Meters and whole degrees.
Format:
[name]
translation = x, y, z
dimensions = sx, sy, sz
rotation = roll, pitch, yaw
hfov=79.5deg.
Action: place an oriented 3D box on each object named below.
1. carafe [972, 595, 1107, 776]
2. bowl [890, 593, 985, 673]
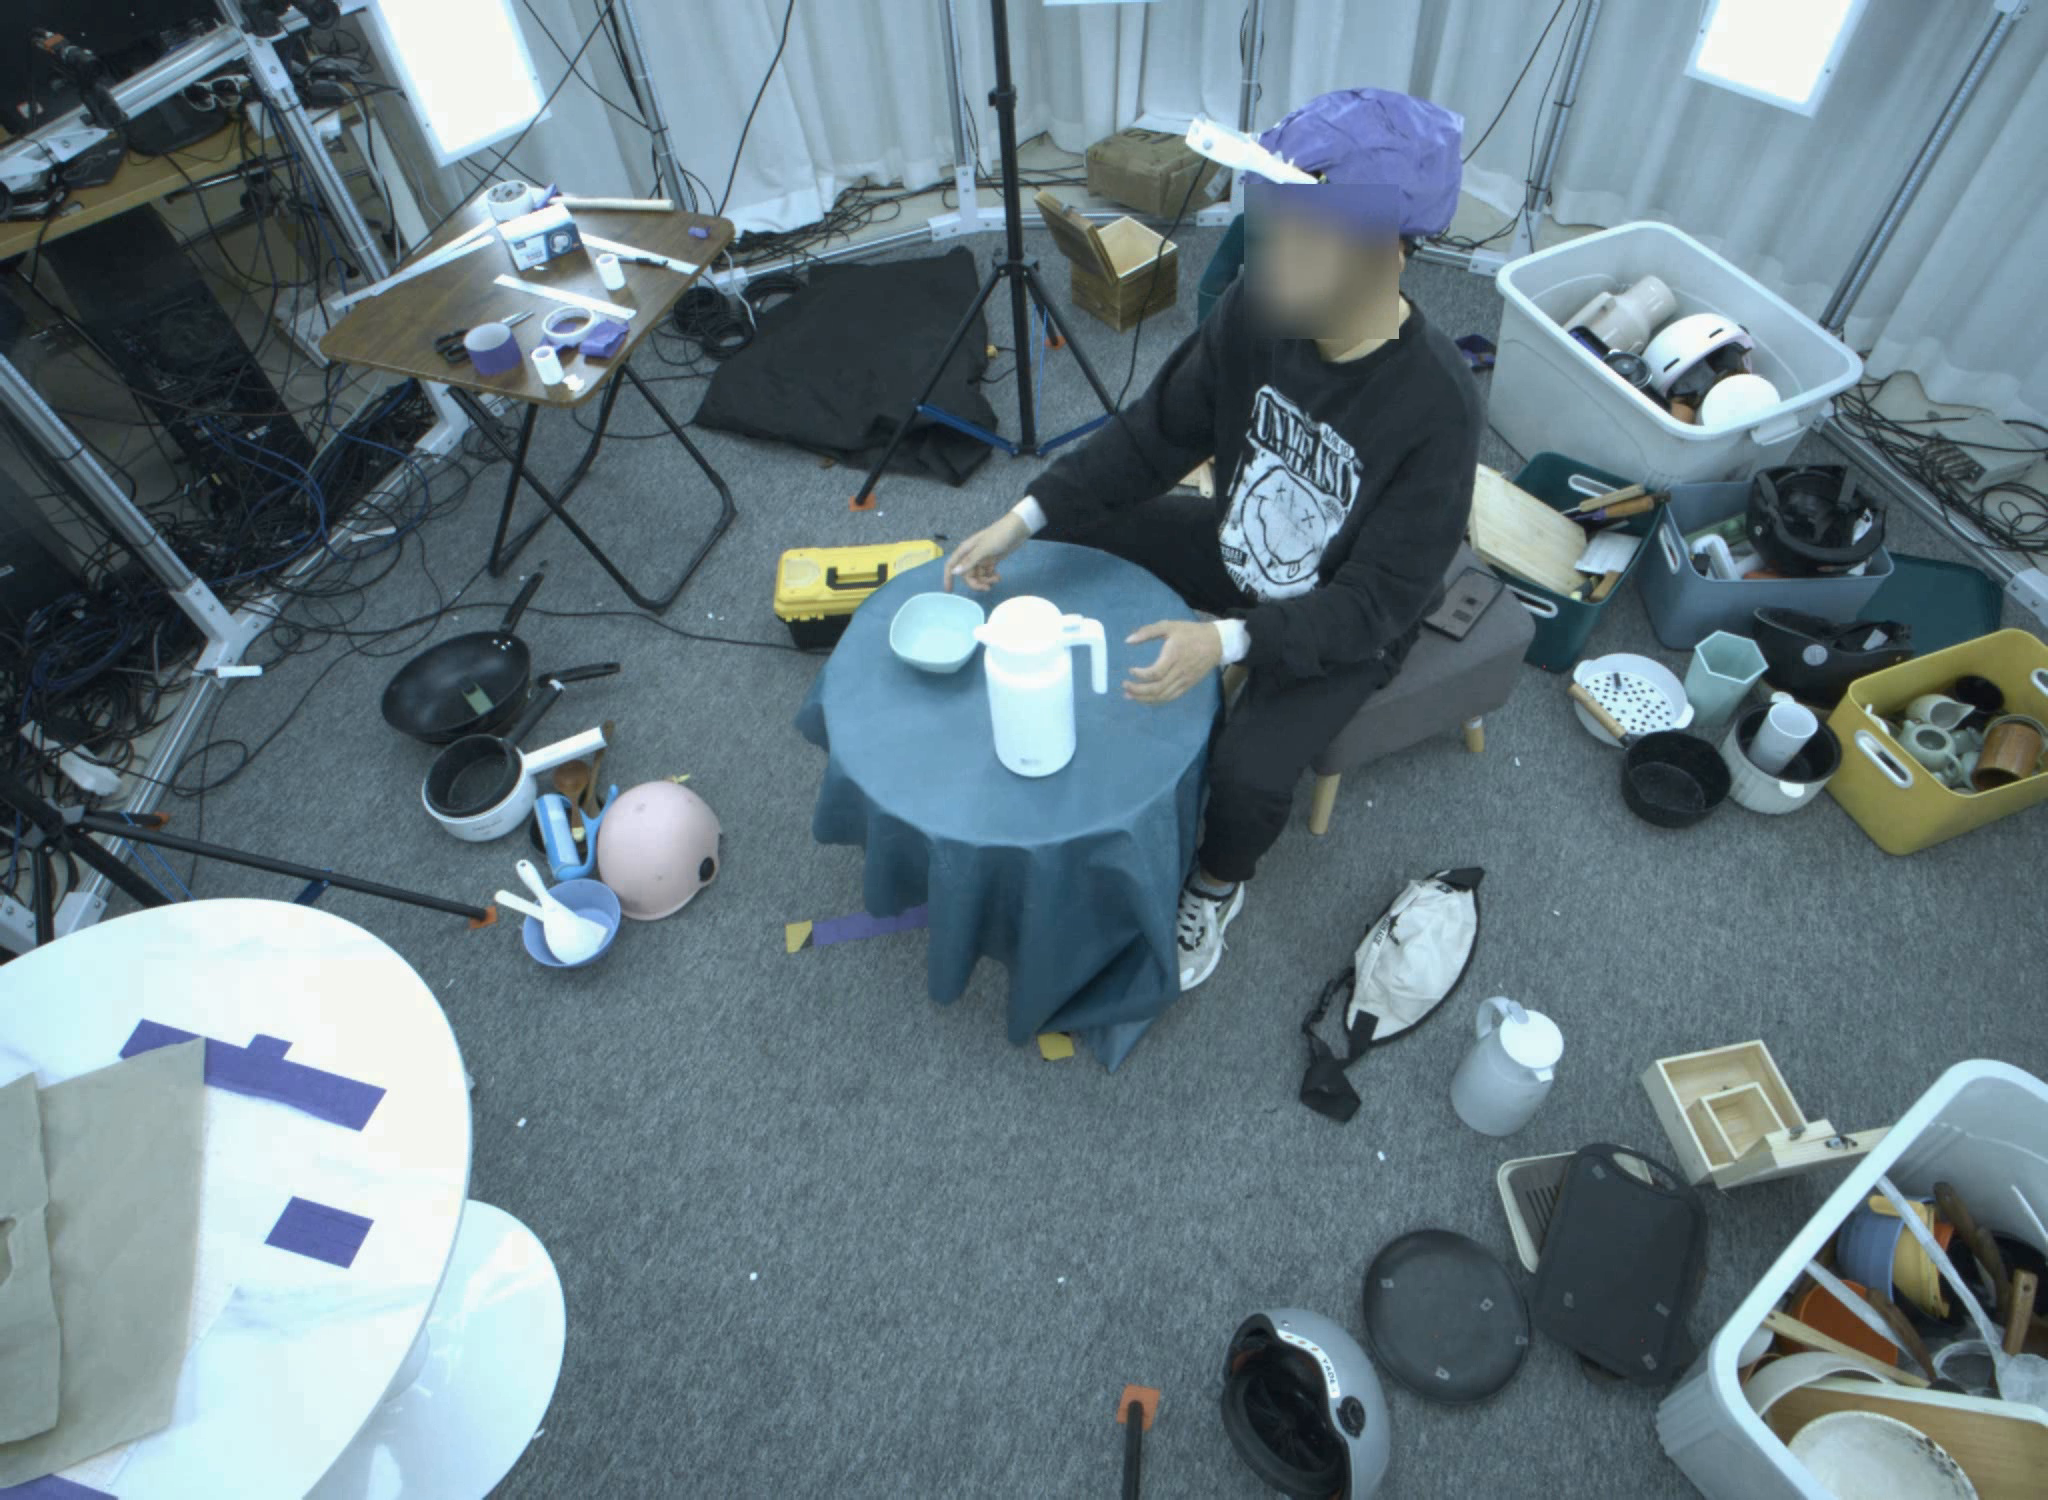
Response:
[carafe]
translation = 0.026, -0.087, 1.679
dimensions = 0.173, 0.272, 0.122
rotation = -7, 52, -1
[bowl]
translation = -0.130, -0.169, 1.876
dimensions = 0.151, 0.059, 0.150
rotation = 0, 55, 2
